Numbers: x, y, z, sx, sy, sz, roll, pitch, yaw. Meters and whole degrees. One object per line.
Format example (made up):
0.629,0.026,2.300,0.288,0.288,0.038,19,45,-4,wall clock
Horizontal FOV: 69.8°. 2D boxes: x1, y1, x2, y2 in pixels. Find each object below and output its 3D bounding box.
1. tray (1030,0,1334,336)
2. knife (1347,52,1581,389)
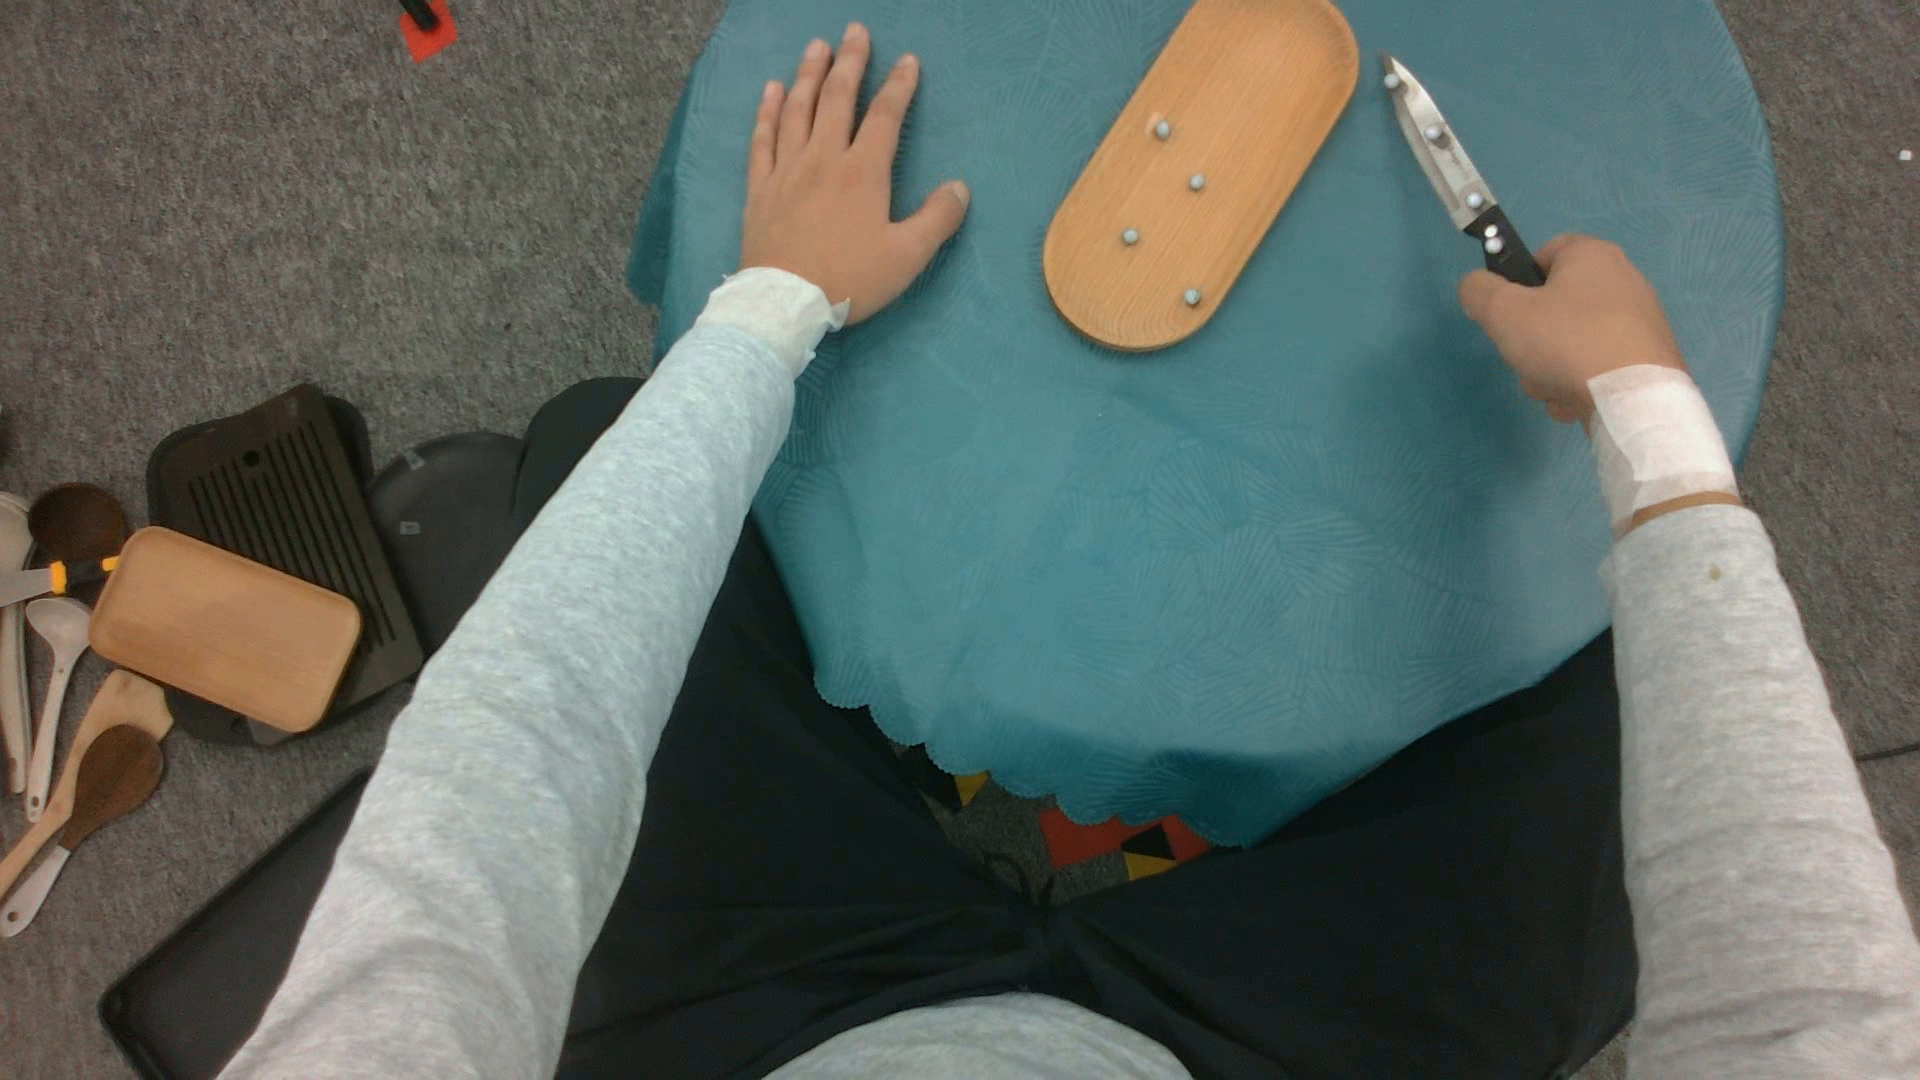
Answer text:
0.121,-0.213,0.748,0.101,0.020,0.231,29,79,6,tray
0.252,-0.174,0.704,0.024,0.016,0.239,-39,55,30,knife
